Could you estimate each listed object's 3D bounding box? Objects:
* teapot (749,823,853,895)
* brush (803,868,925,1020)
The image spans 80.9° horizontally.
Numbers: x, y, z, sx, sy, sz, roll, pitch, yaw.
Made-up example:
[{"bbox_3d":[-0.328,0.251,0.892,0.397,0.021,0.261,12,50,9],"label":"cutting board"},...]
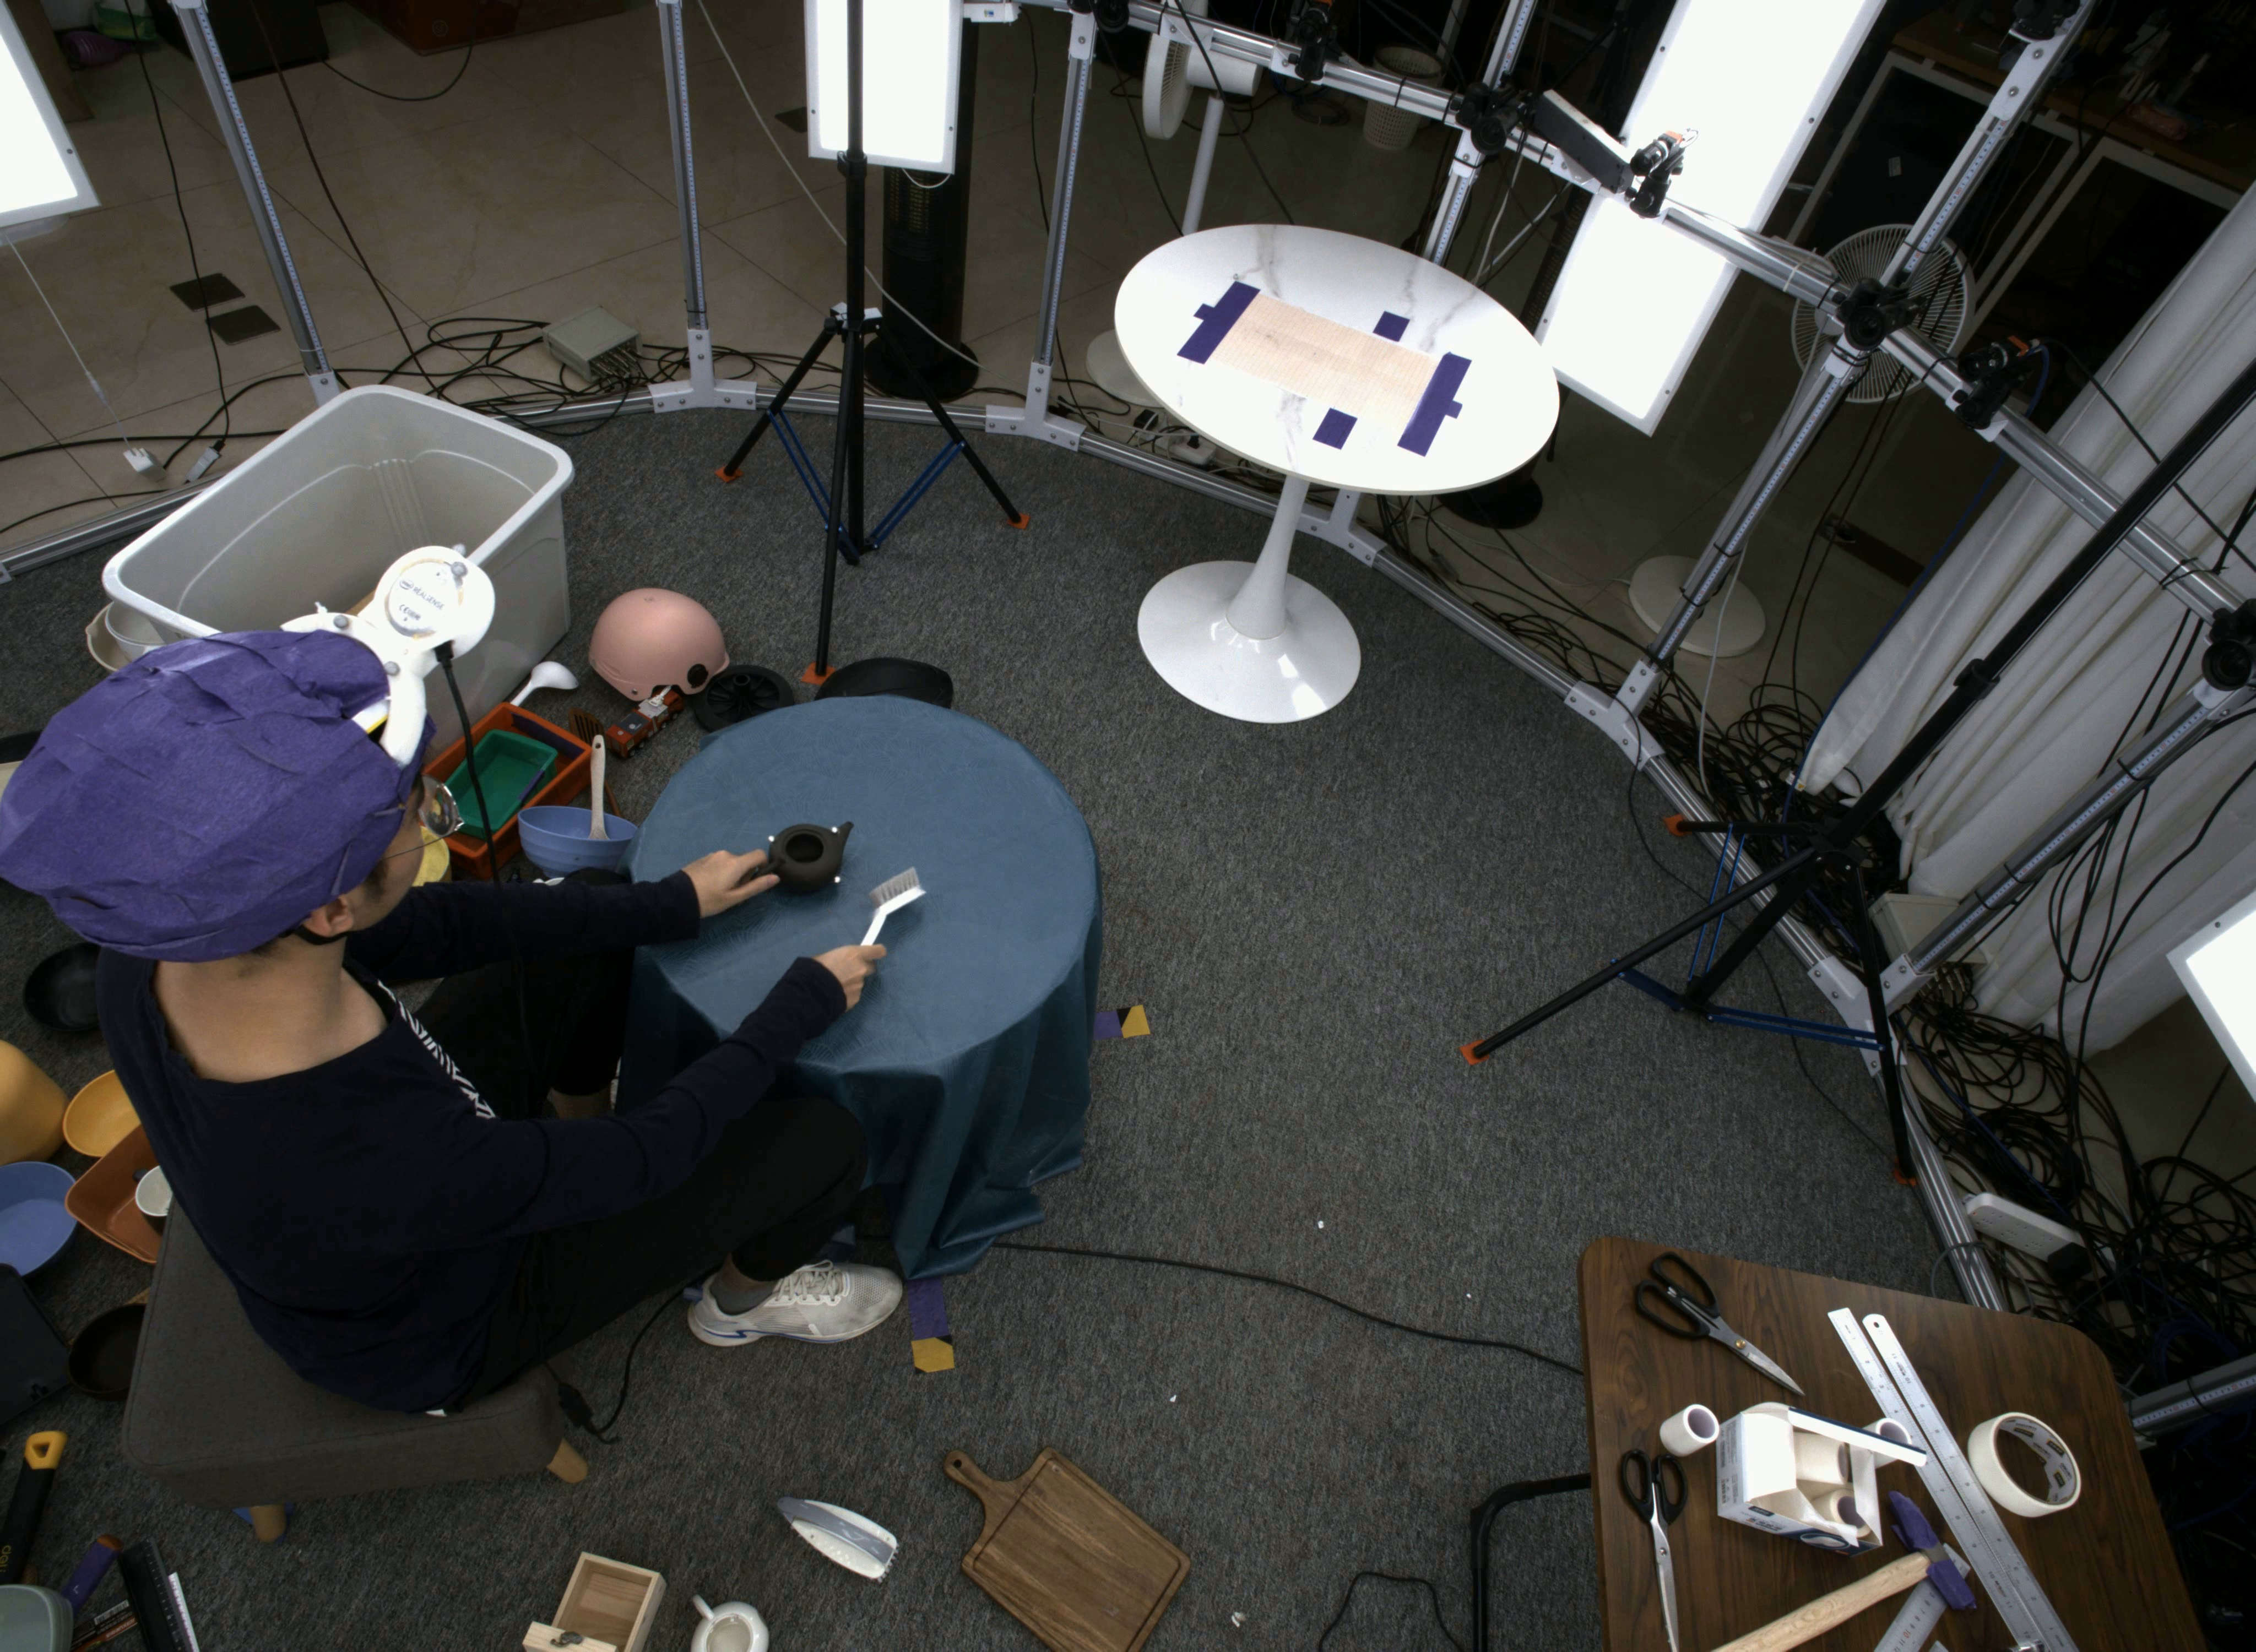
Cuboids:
[{"bbox_3d":[-0.416,0.043,1.656,0.155,0.066,0.090,-32,67,-30],"label":"teapot"},{"bbox_3d":[-0.333,0.136,1.596,0.051,0.033,0.243,52,50,-17],"label":"brush"}]
